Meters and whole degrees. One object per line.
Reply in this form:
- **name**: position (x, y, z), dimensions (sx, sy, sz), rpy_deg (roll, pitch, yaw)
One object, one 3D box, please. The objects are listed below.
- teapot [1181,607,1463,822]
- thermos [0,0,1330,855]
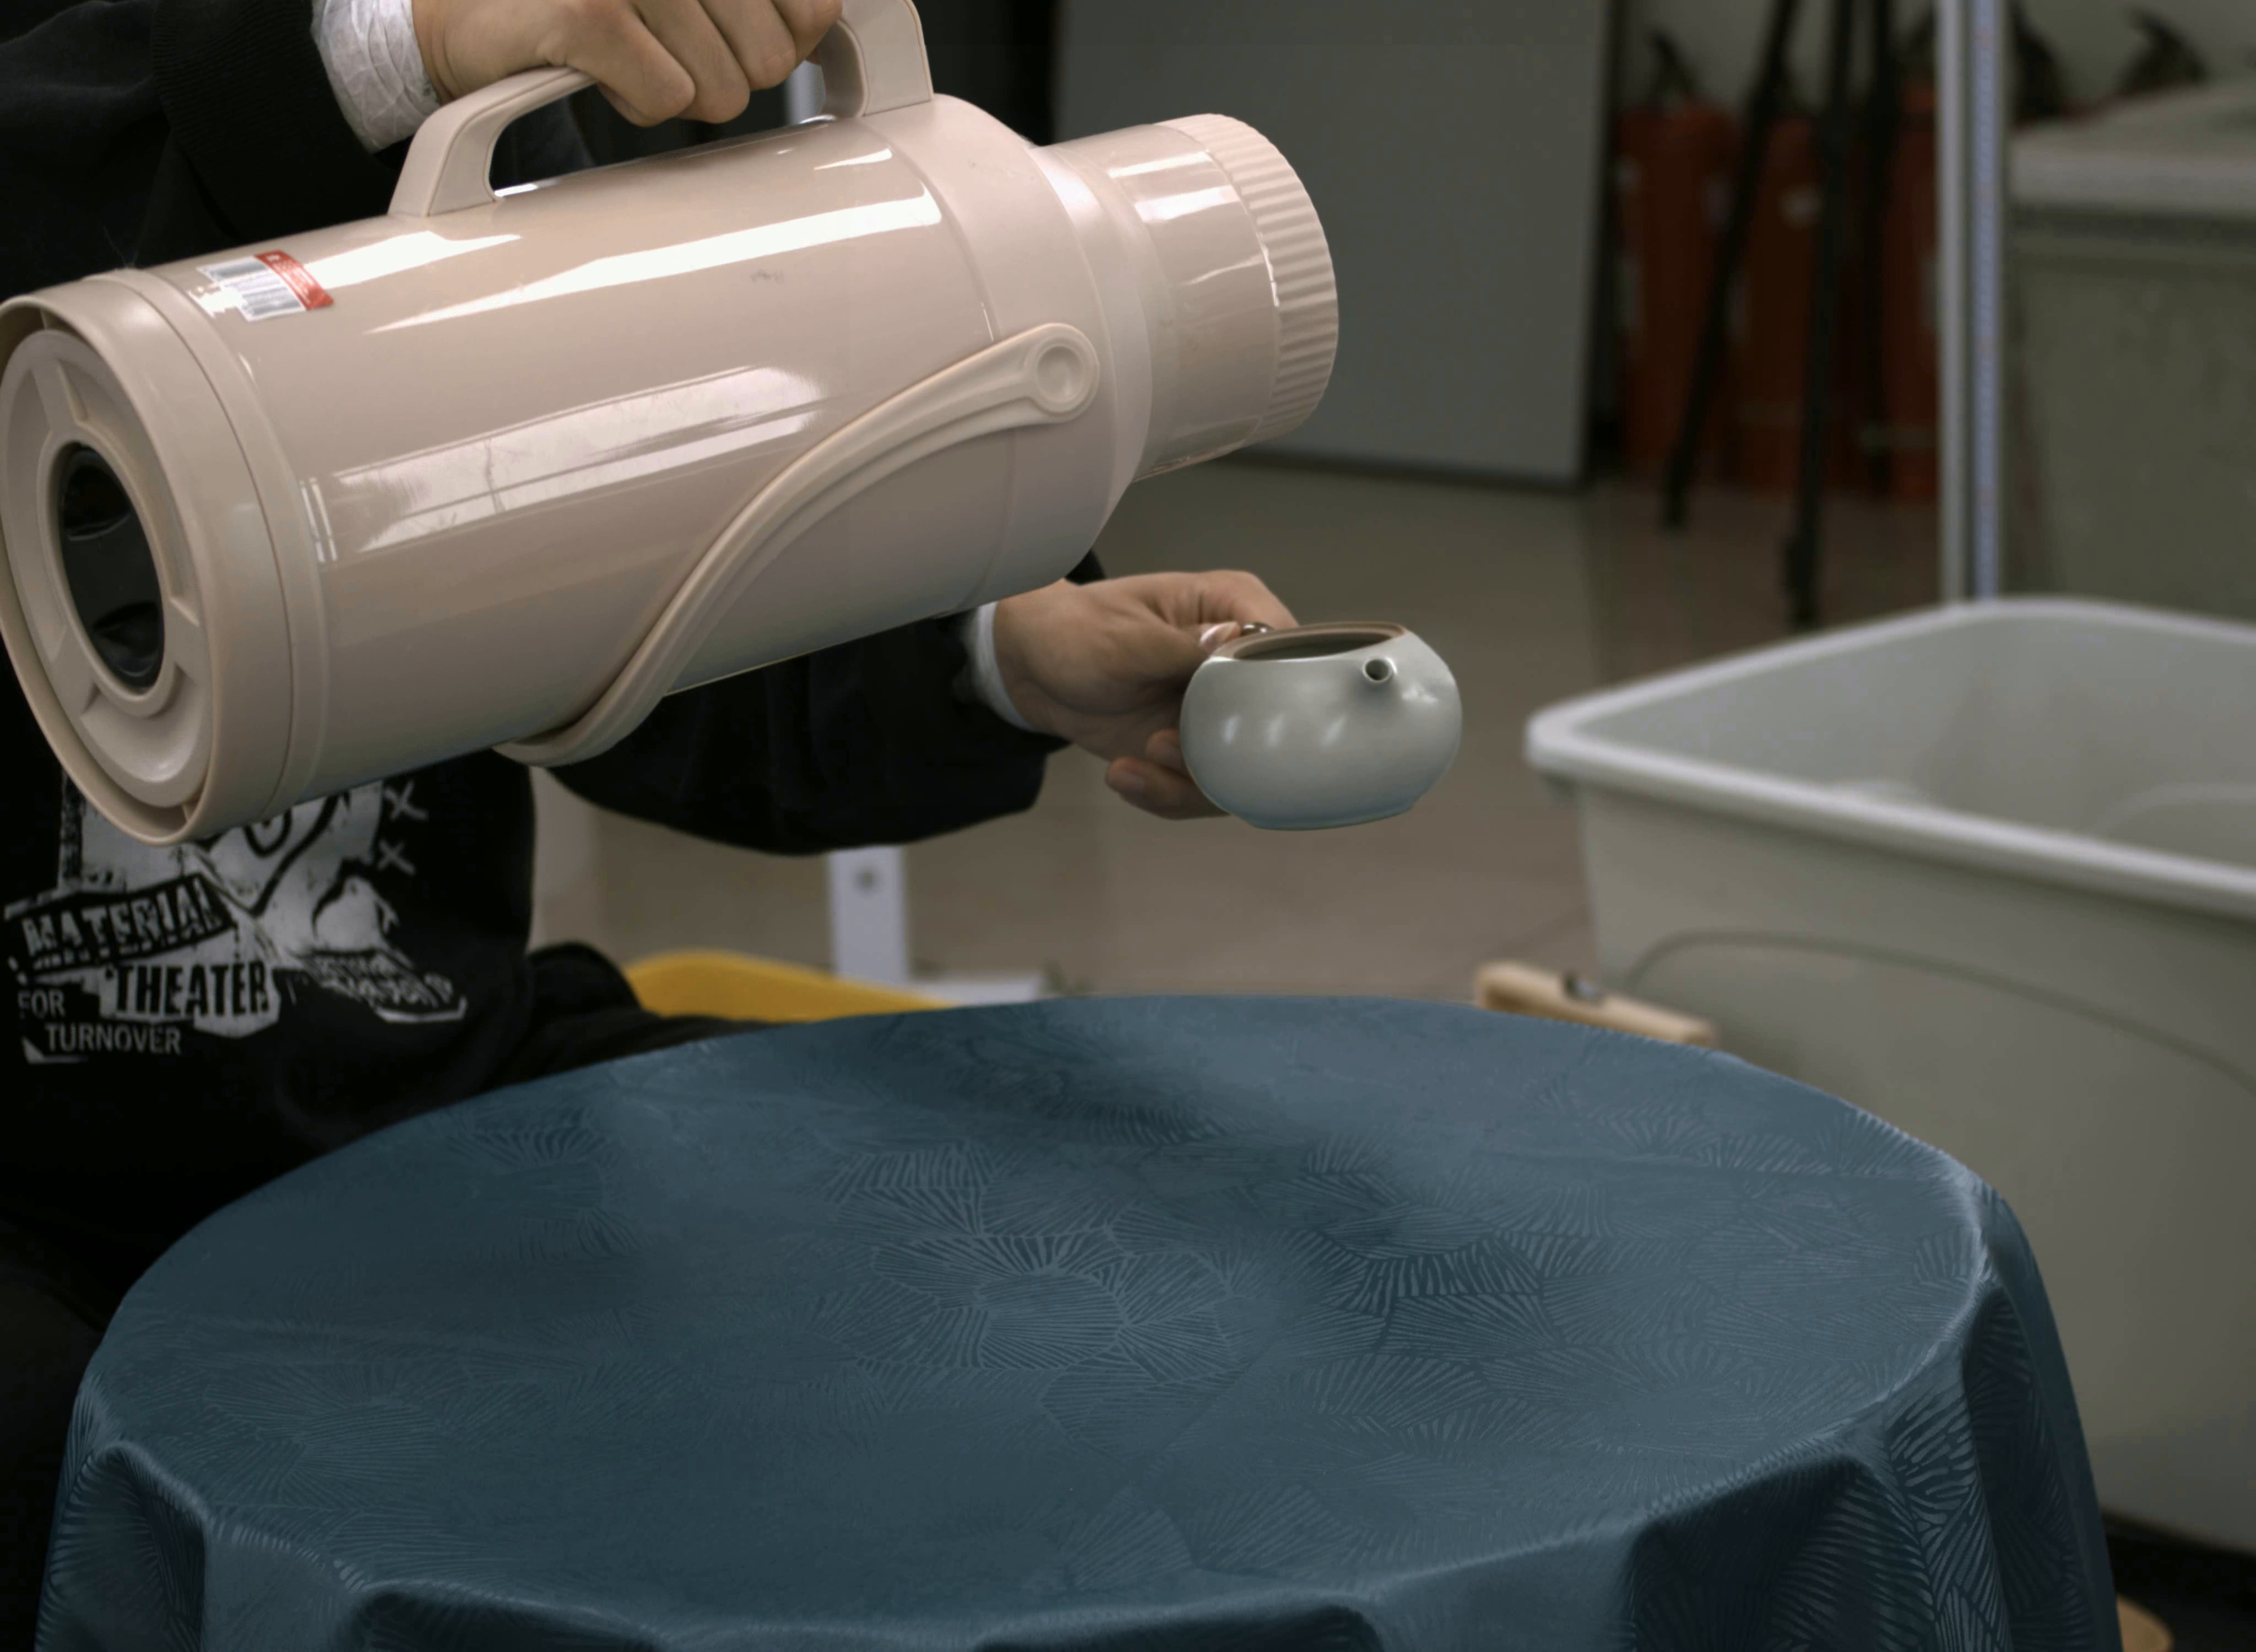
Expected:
- **teapot**: position (0.058, -0.037, 1.739), dimensions (0.090, 0.060, 0.129), rpy_deg (-15, 13, -20)
- **thermos**: position (-0.133, -0.137, 1.595), dimensions (0.398, 0.209, 0.177), rpy_deg (-18, 16, -28)
